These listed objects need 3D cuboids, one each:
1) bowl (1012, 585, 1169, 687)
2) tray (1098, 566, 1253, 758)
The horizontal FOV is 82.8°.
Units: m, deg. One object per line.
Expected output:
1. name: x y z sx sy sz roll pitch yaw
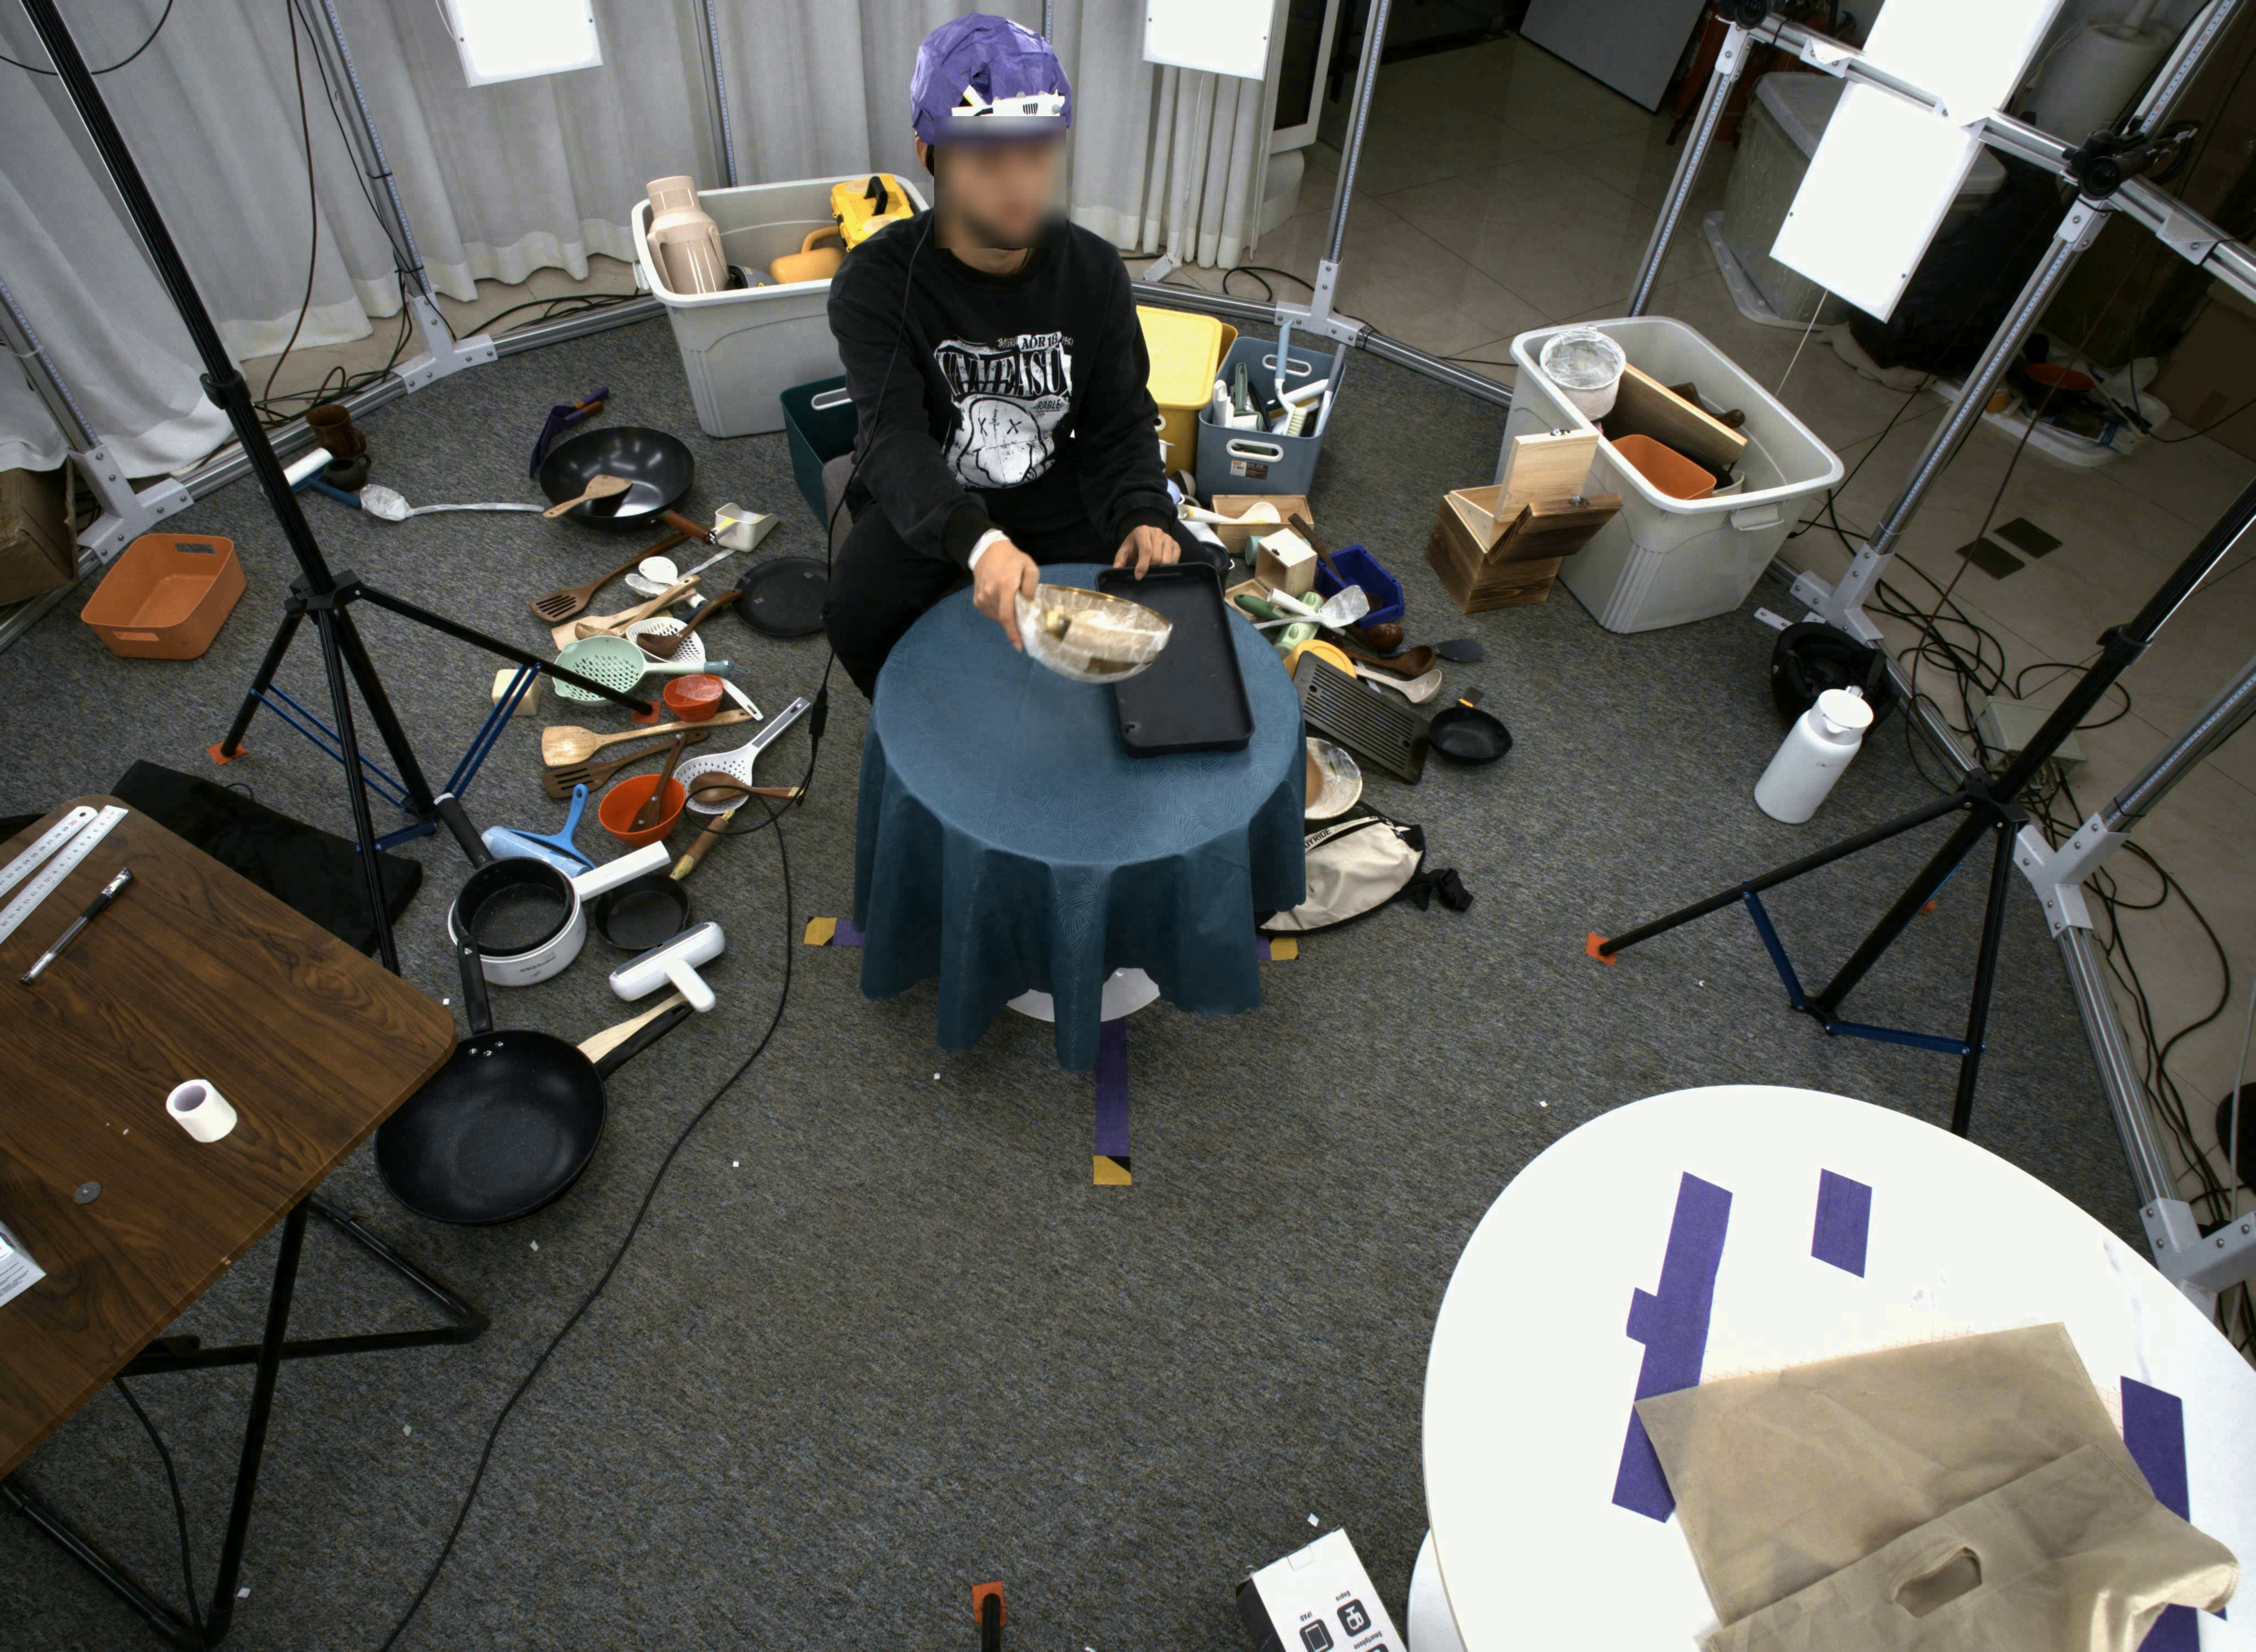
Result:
1. bowl: -0.055 -0.234 1.644 0.214 0.093 0.218 11 22 -4
2. tray: 0.064 -0.240 1.840 0.184 0.036 0.325 -5 57 -5
